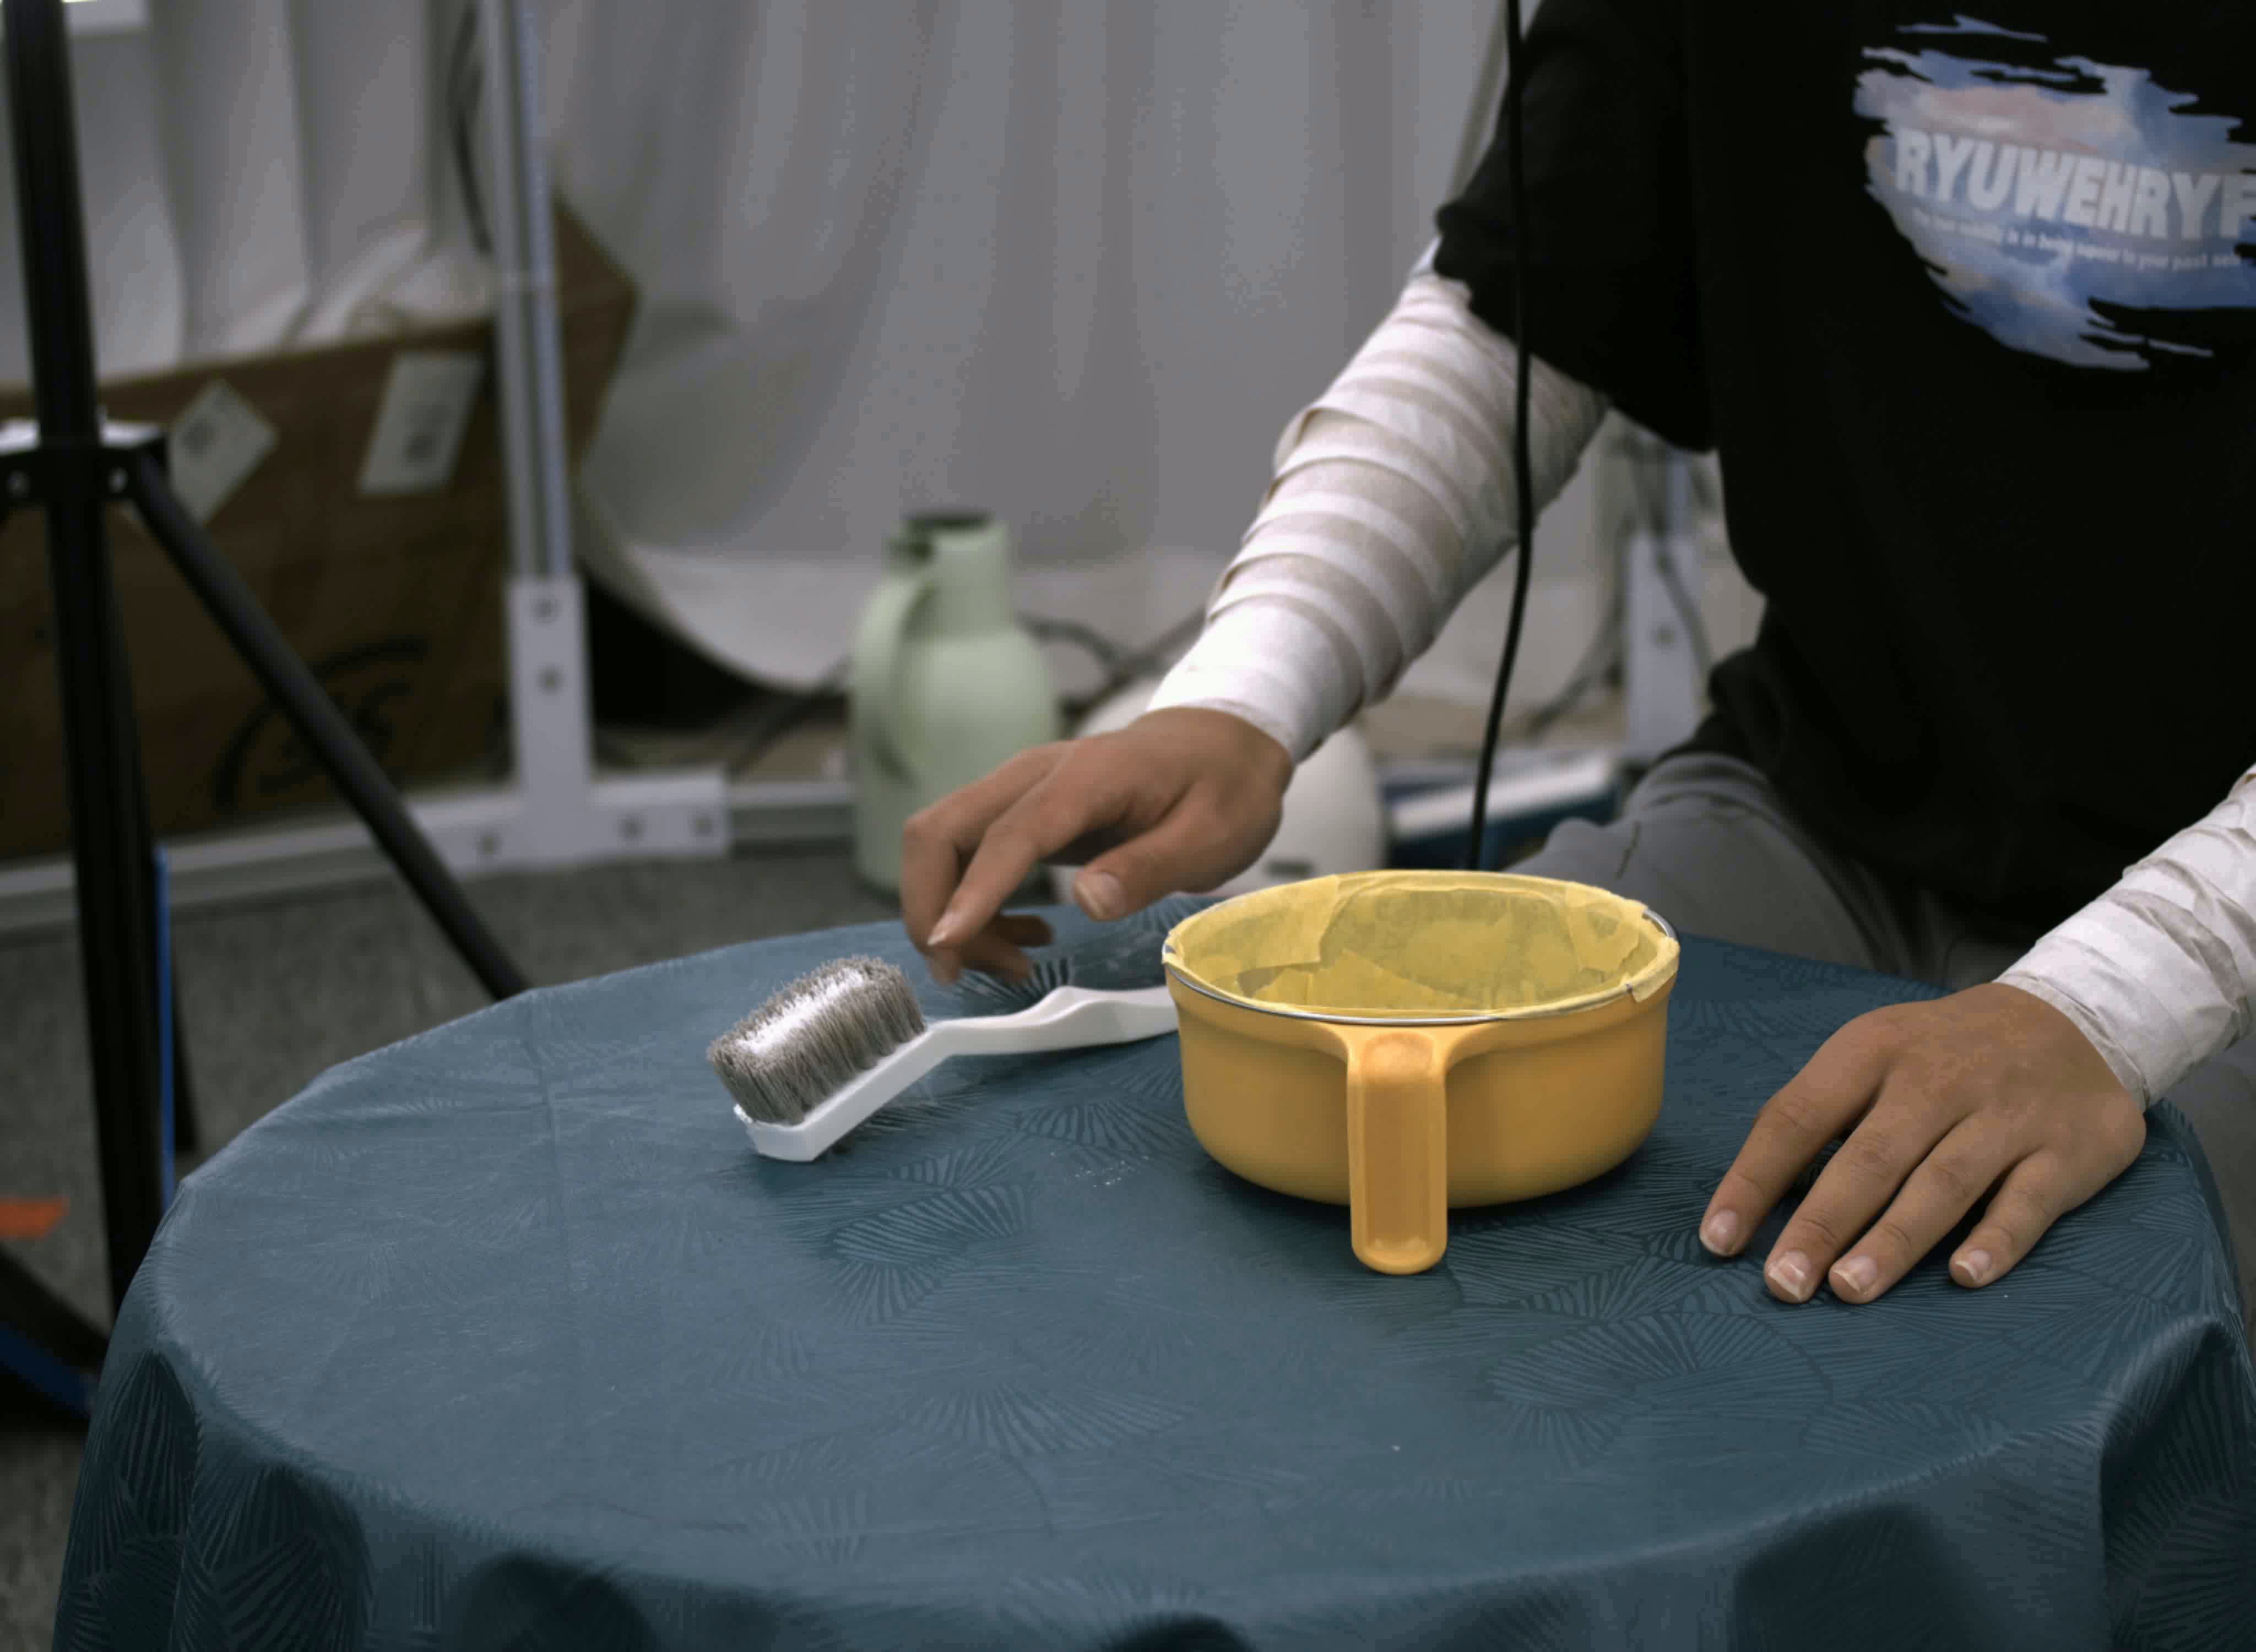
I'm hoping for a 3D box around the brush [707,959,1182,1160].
[{"bbox_3d":[-0.030,0.053,1.668,0.238,0.050,0.035,-16,19,-39],"label":"brush"}]

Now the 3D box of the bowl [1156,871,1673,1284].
[{"bbox_3d":[0.084,0.070,1.559,0.153,0.074,0.179,0,15,5],"label":"bowl"}]
